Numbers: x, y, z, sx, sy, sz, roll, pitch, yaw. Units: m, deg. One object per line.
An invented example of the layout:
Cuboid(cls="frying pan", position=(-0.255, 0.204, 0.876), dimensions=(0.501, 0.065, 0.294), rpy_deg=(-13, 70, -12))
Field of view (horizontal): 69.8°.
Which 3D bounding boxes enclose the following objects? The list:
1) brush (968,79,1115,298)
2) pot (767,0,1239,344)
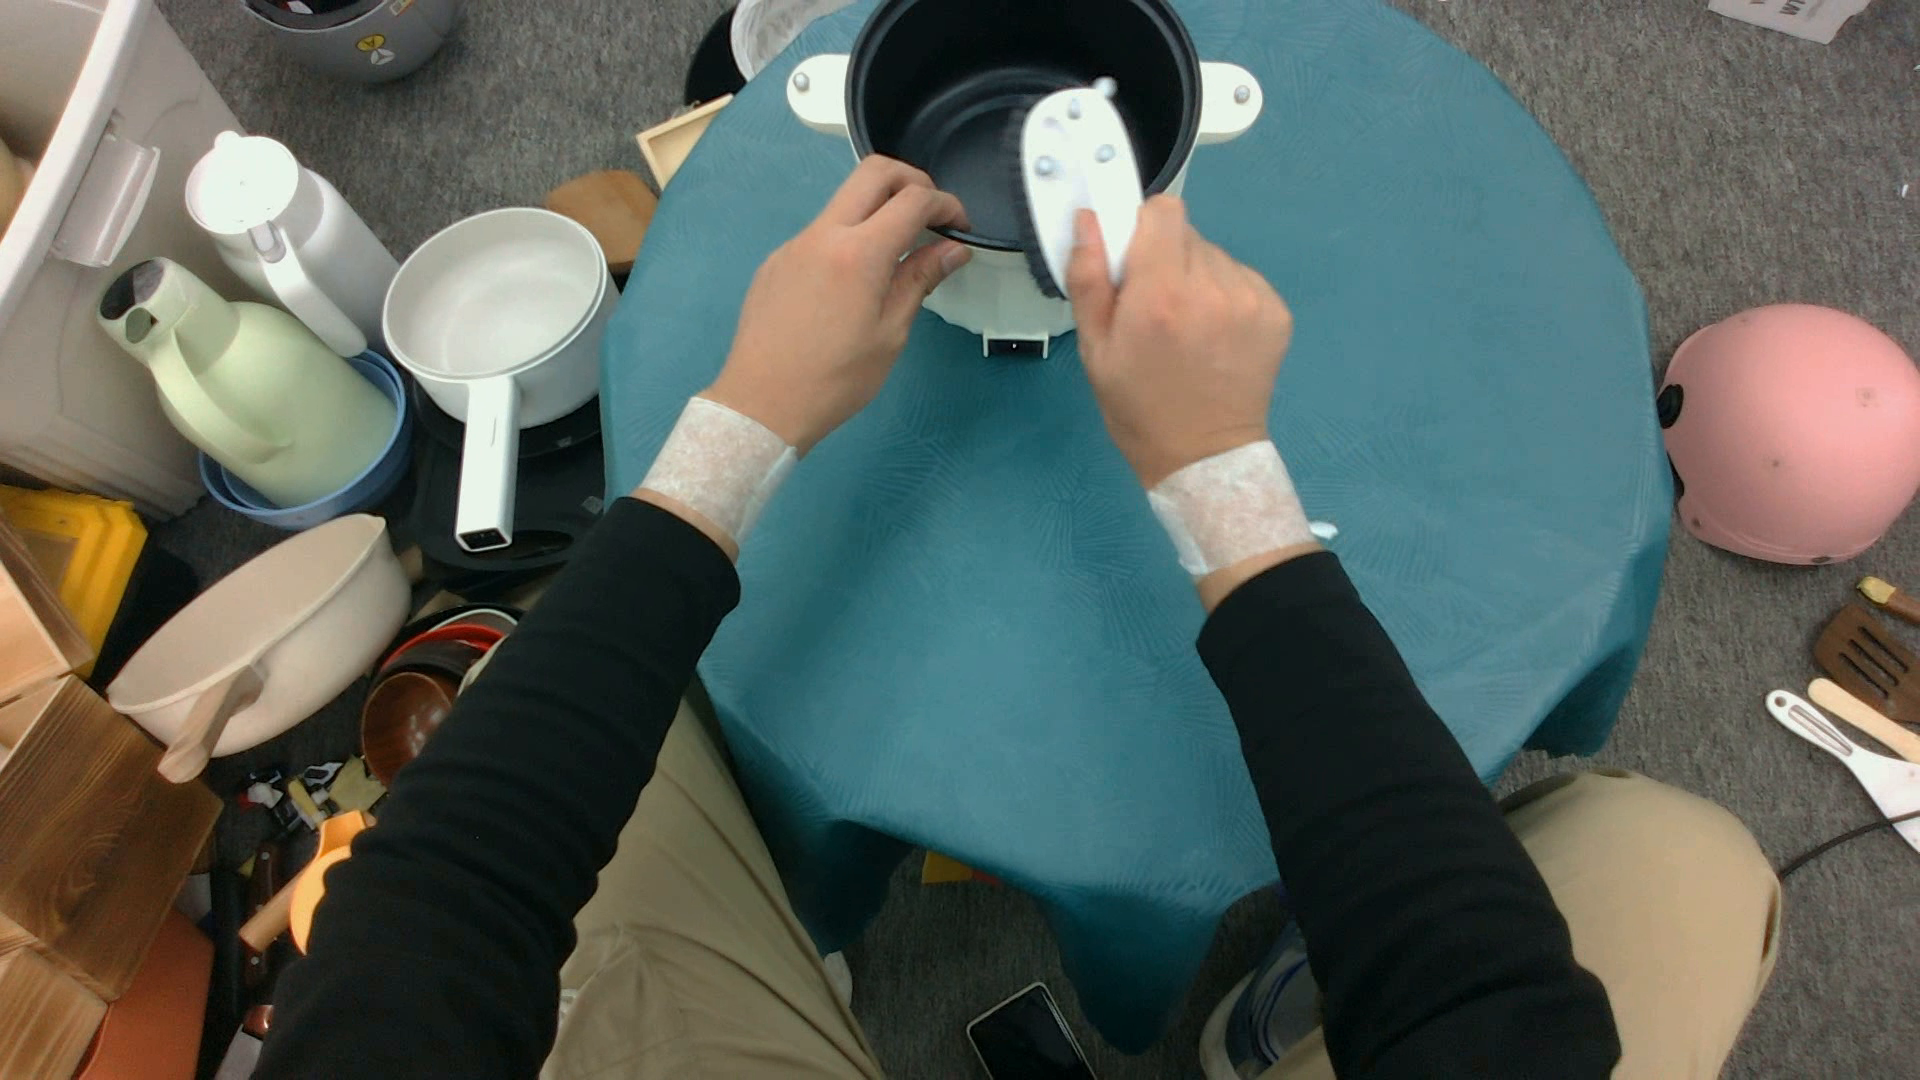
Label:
Cuboid(cls="brush", position=(0.044, -0.157, 0.621), dimensions=(0.050, 0.072, 0.099), rpy_deg=(-20, 109, -12))
Cuboid(cls="pot", position=(0.022, -0.219, 0.760), dimensions=(0.240, 0.142, 0.191), rpy_deg=(1, 75, 0))
